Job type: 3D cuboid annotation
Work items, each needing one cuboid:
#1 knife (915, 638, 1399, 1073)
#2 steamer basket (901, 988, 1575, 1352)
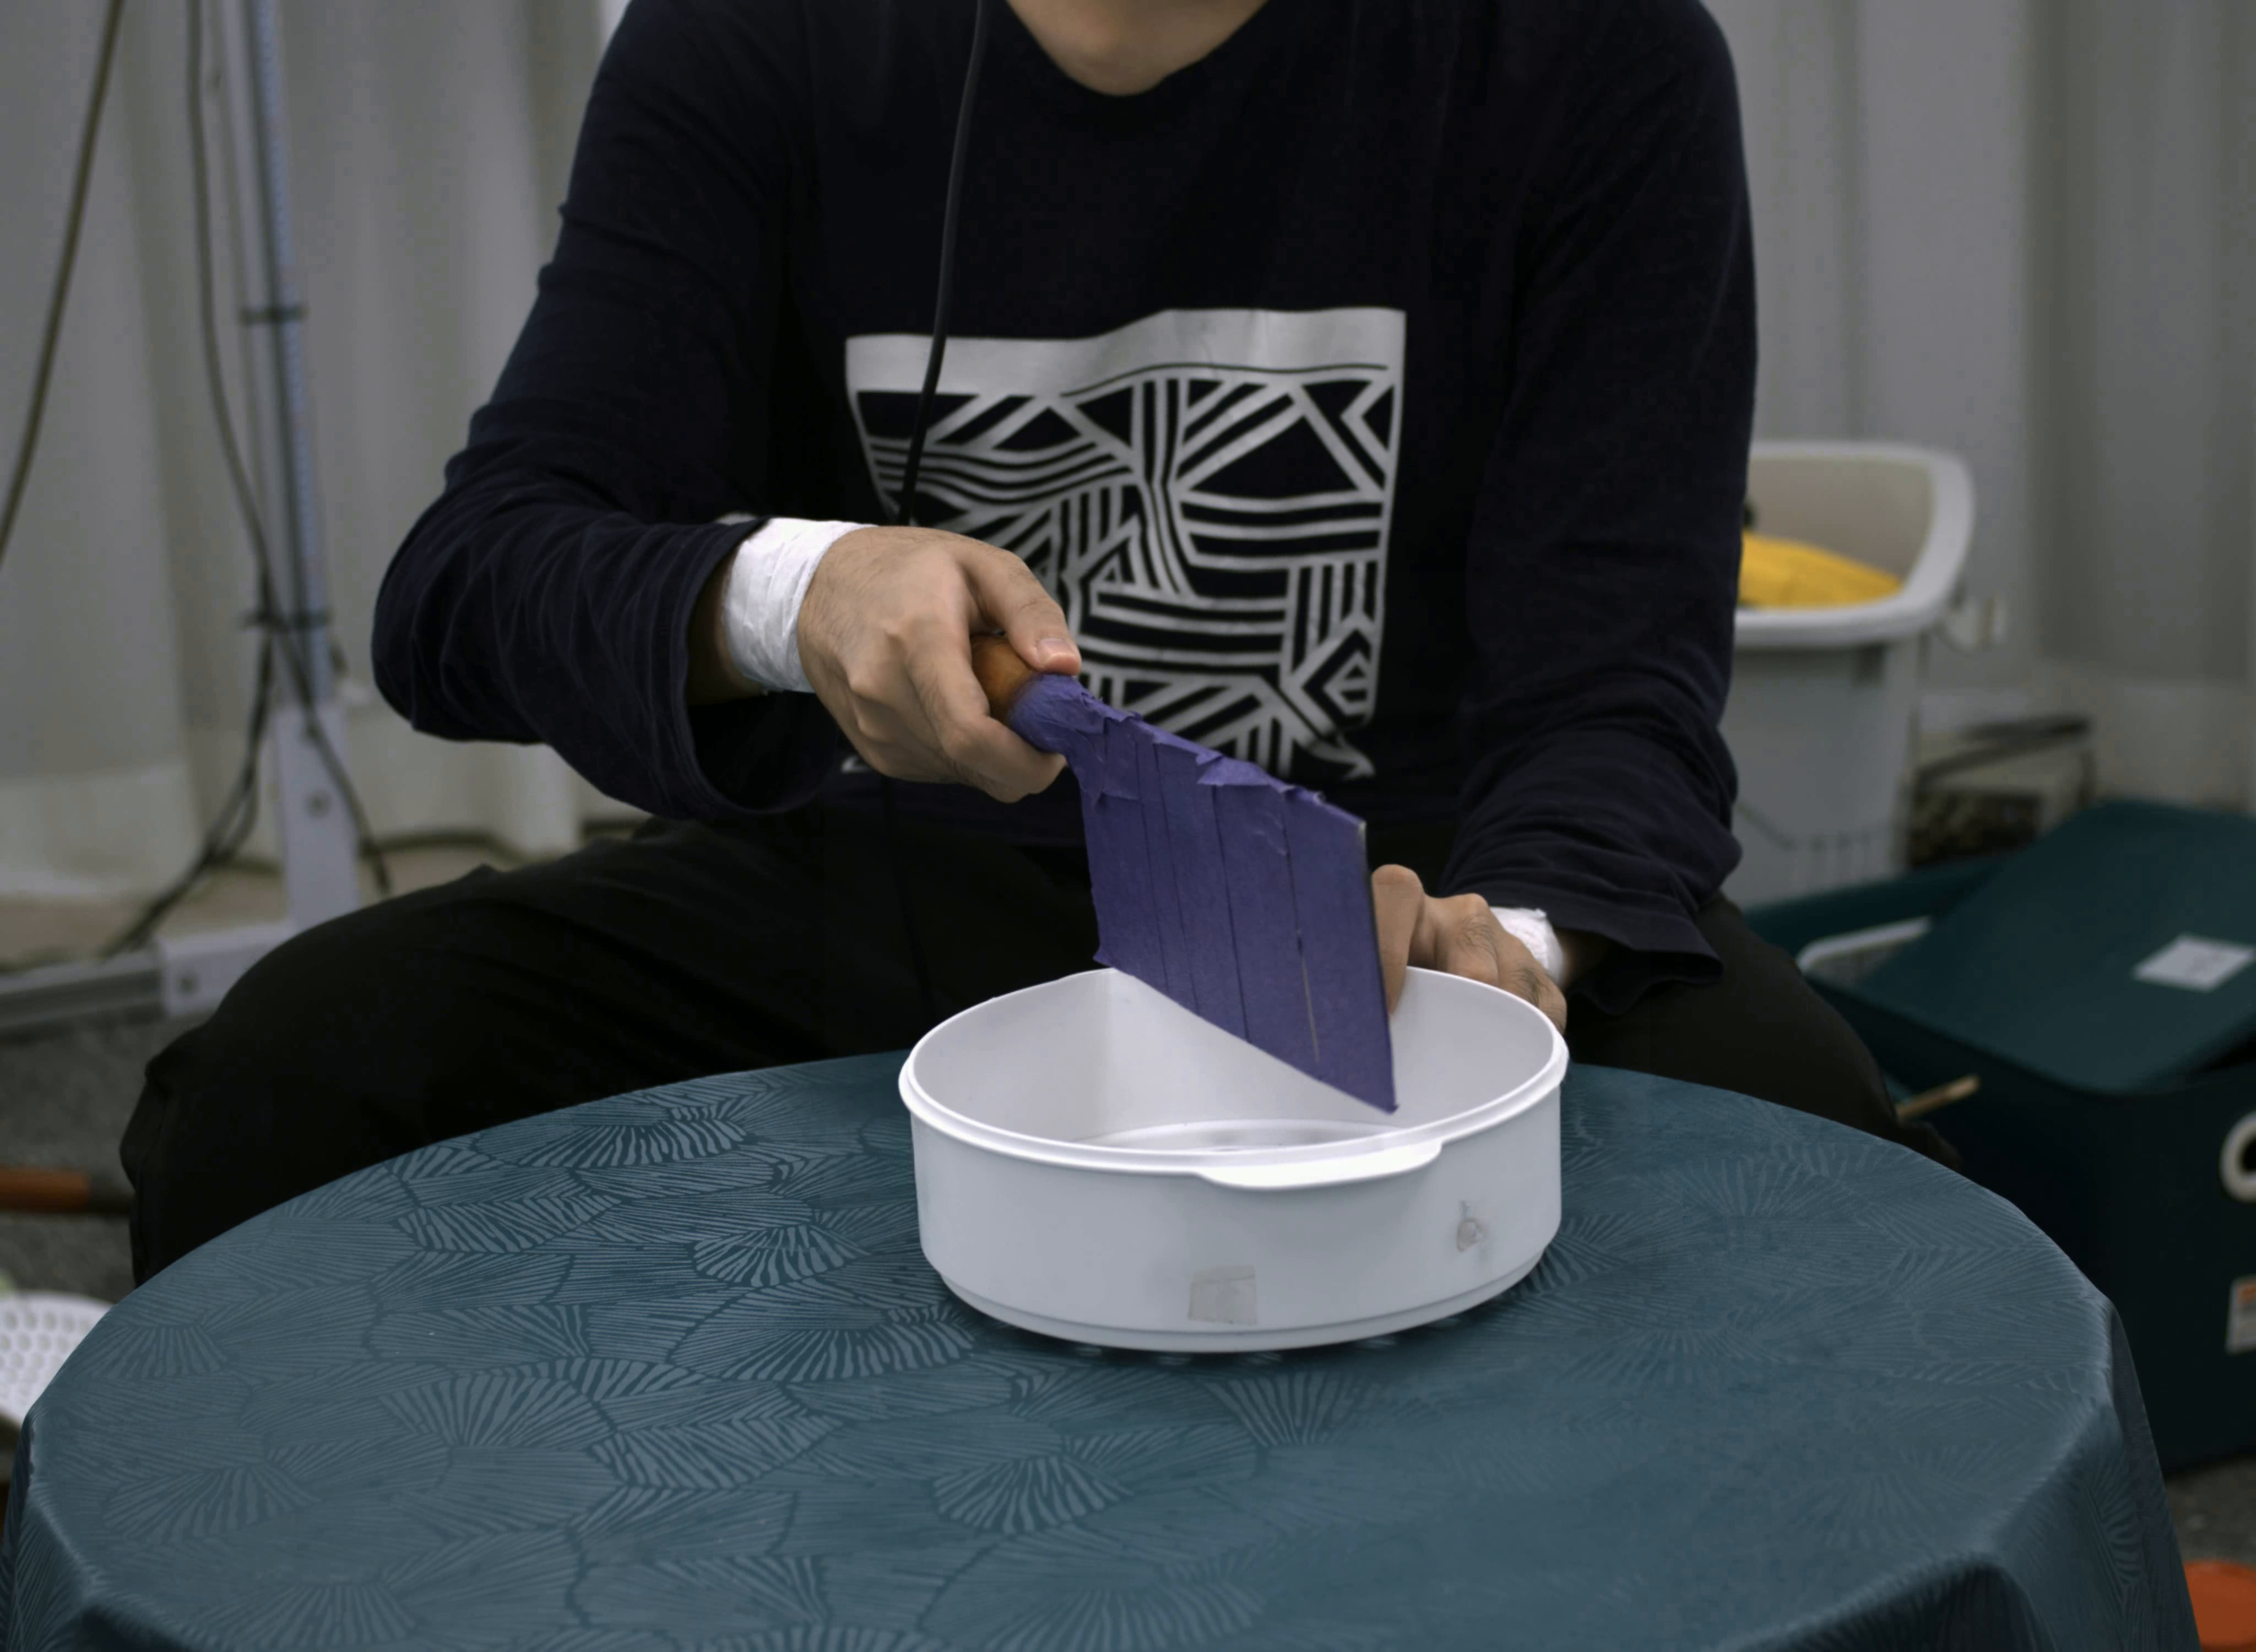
[{"bbox_3d":[0.005,0.008,1.664,0.032,0.103,0.317,-11,14,-20],"label":"knife"},{"bbox_3d":[0.034,0.101,1.636,0.201,0.069,0.232,-5,12,-13],"label":"steamer basket"}]
